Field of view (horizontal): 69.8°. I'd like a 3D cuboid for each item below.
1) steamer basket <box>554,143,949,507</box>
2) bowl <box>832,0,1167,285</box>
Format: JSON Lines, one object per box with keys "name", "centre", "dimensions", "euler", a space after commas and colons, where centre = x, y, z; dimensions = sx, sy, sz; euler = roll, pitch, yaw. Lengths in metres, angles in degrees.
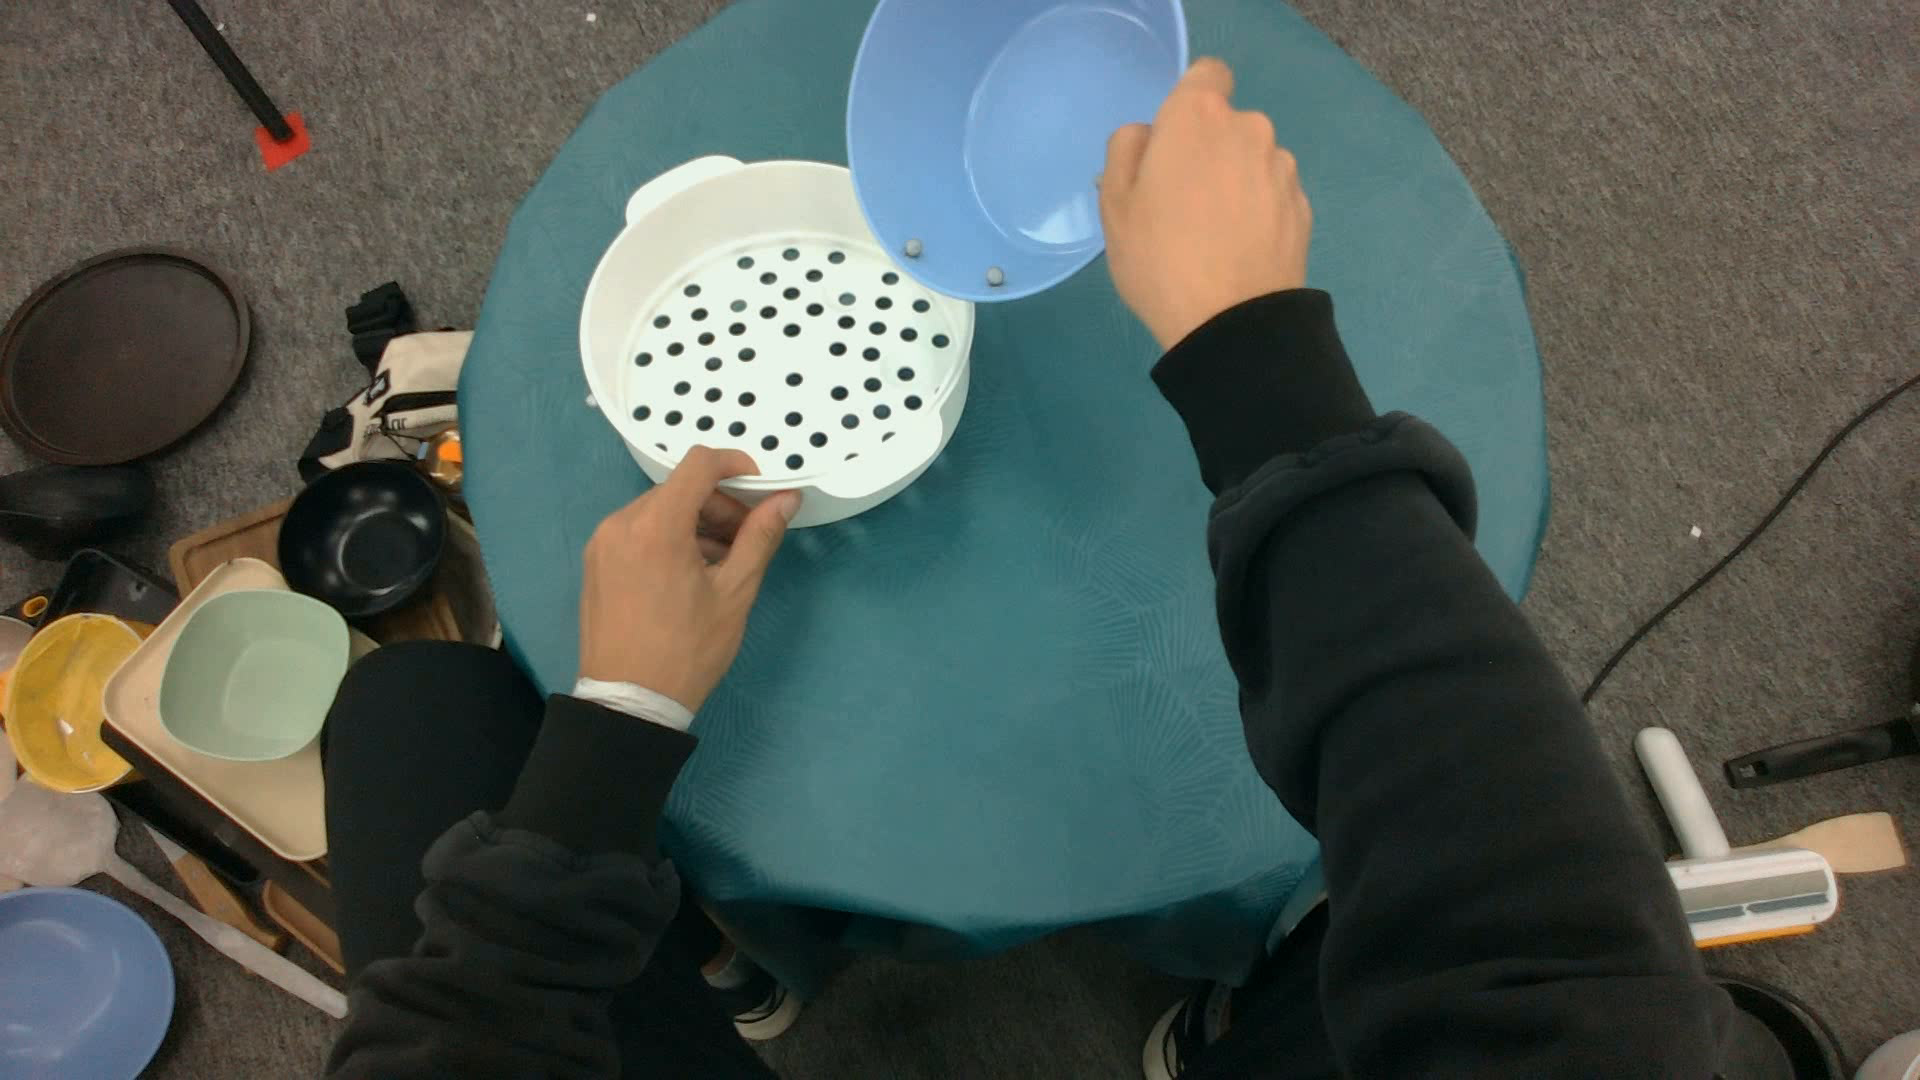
{"name": "steamer basket", "centre": [-0.105, -0.112, 0.727], "dimensions": [0.202, 0.069, 0.231], "euler": [-32, 65, -15]}
{"name": "bowl", "centre": [0.028, -0.203, 0.636], "dimensions": [0.175, 0.070, 0.176], "euler": [2, 94, 34]}
